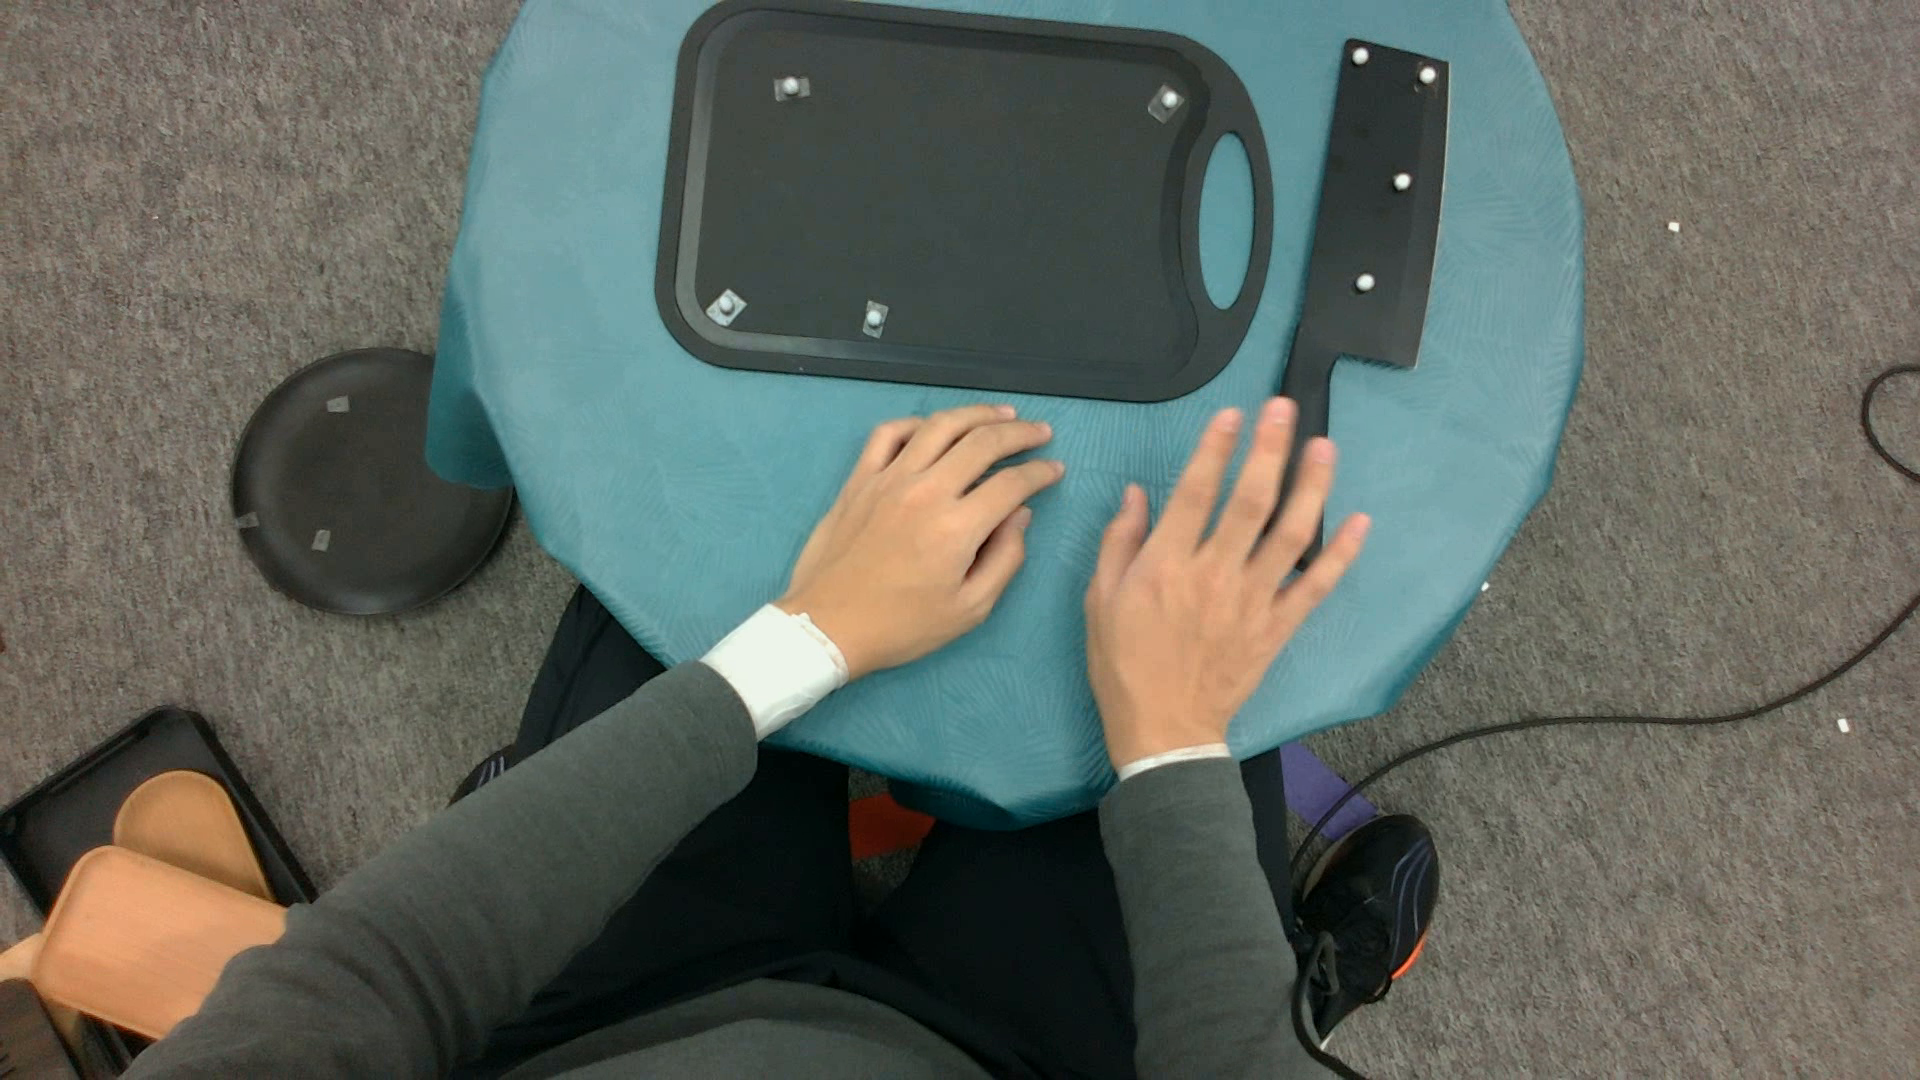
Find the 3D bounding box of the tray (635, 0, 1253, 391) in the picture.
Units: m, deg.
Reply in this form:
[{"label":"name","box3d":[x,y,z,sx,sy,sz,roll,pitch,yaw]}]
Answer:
[{"label":"tray","box3d":[-0.003,-0.191,0.733,0.325,0.010,0.211,5,81,-4]}]

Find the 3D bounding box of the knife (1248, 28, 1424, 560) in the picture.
[{"label":"knife","box3d":[0.201,-0.136,0.735,0.081,0.021,0.303,16,78,-3]}]
